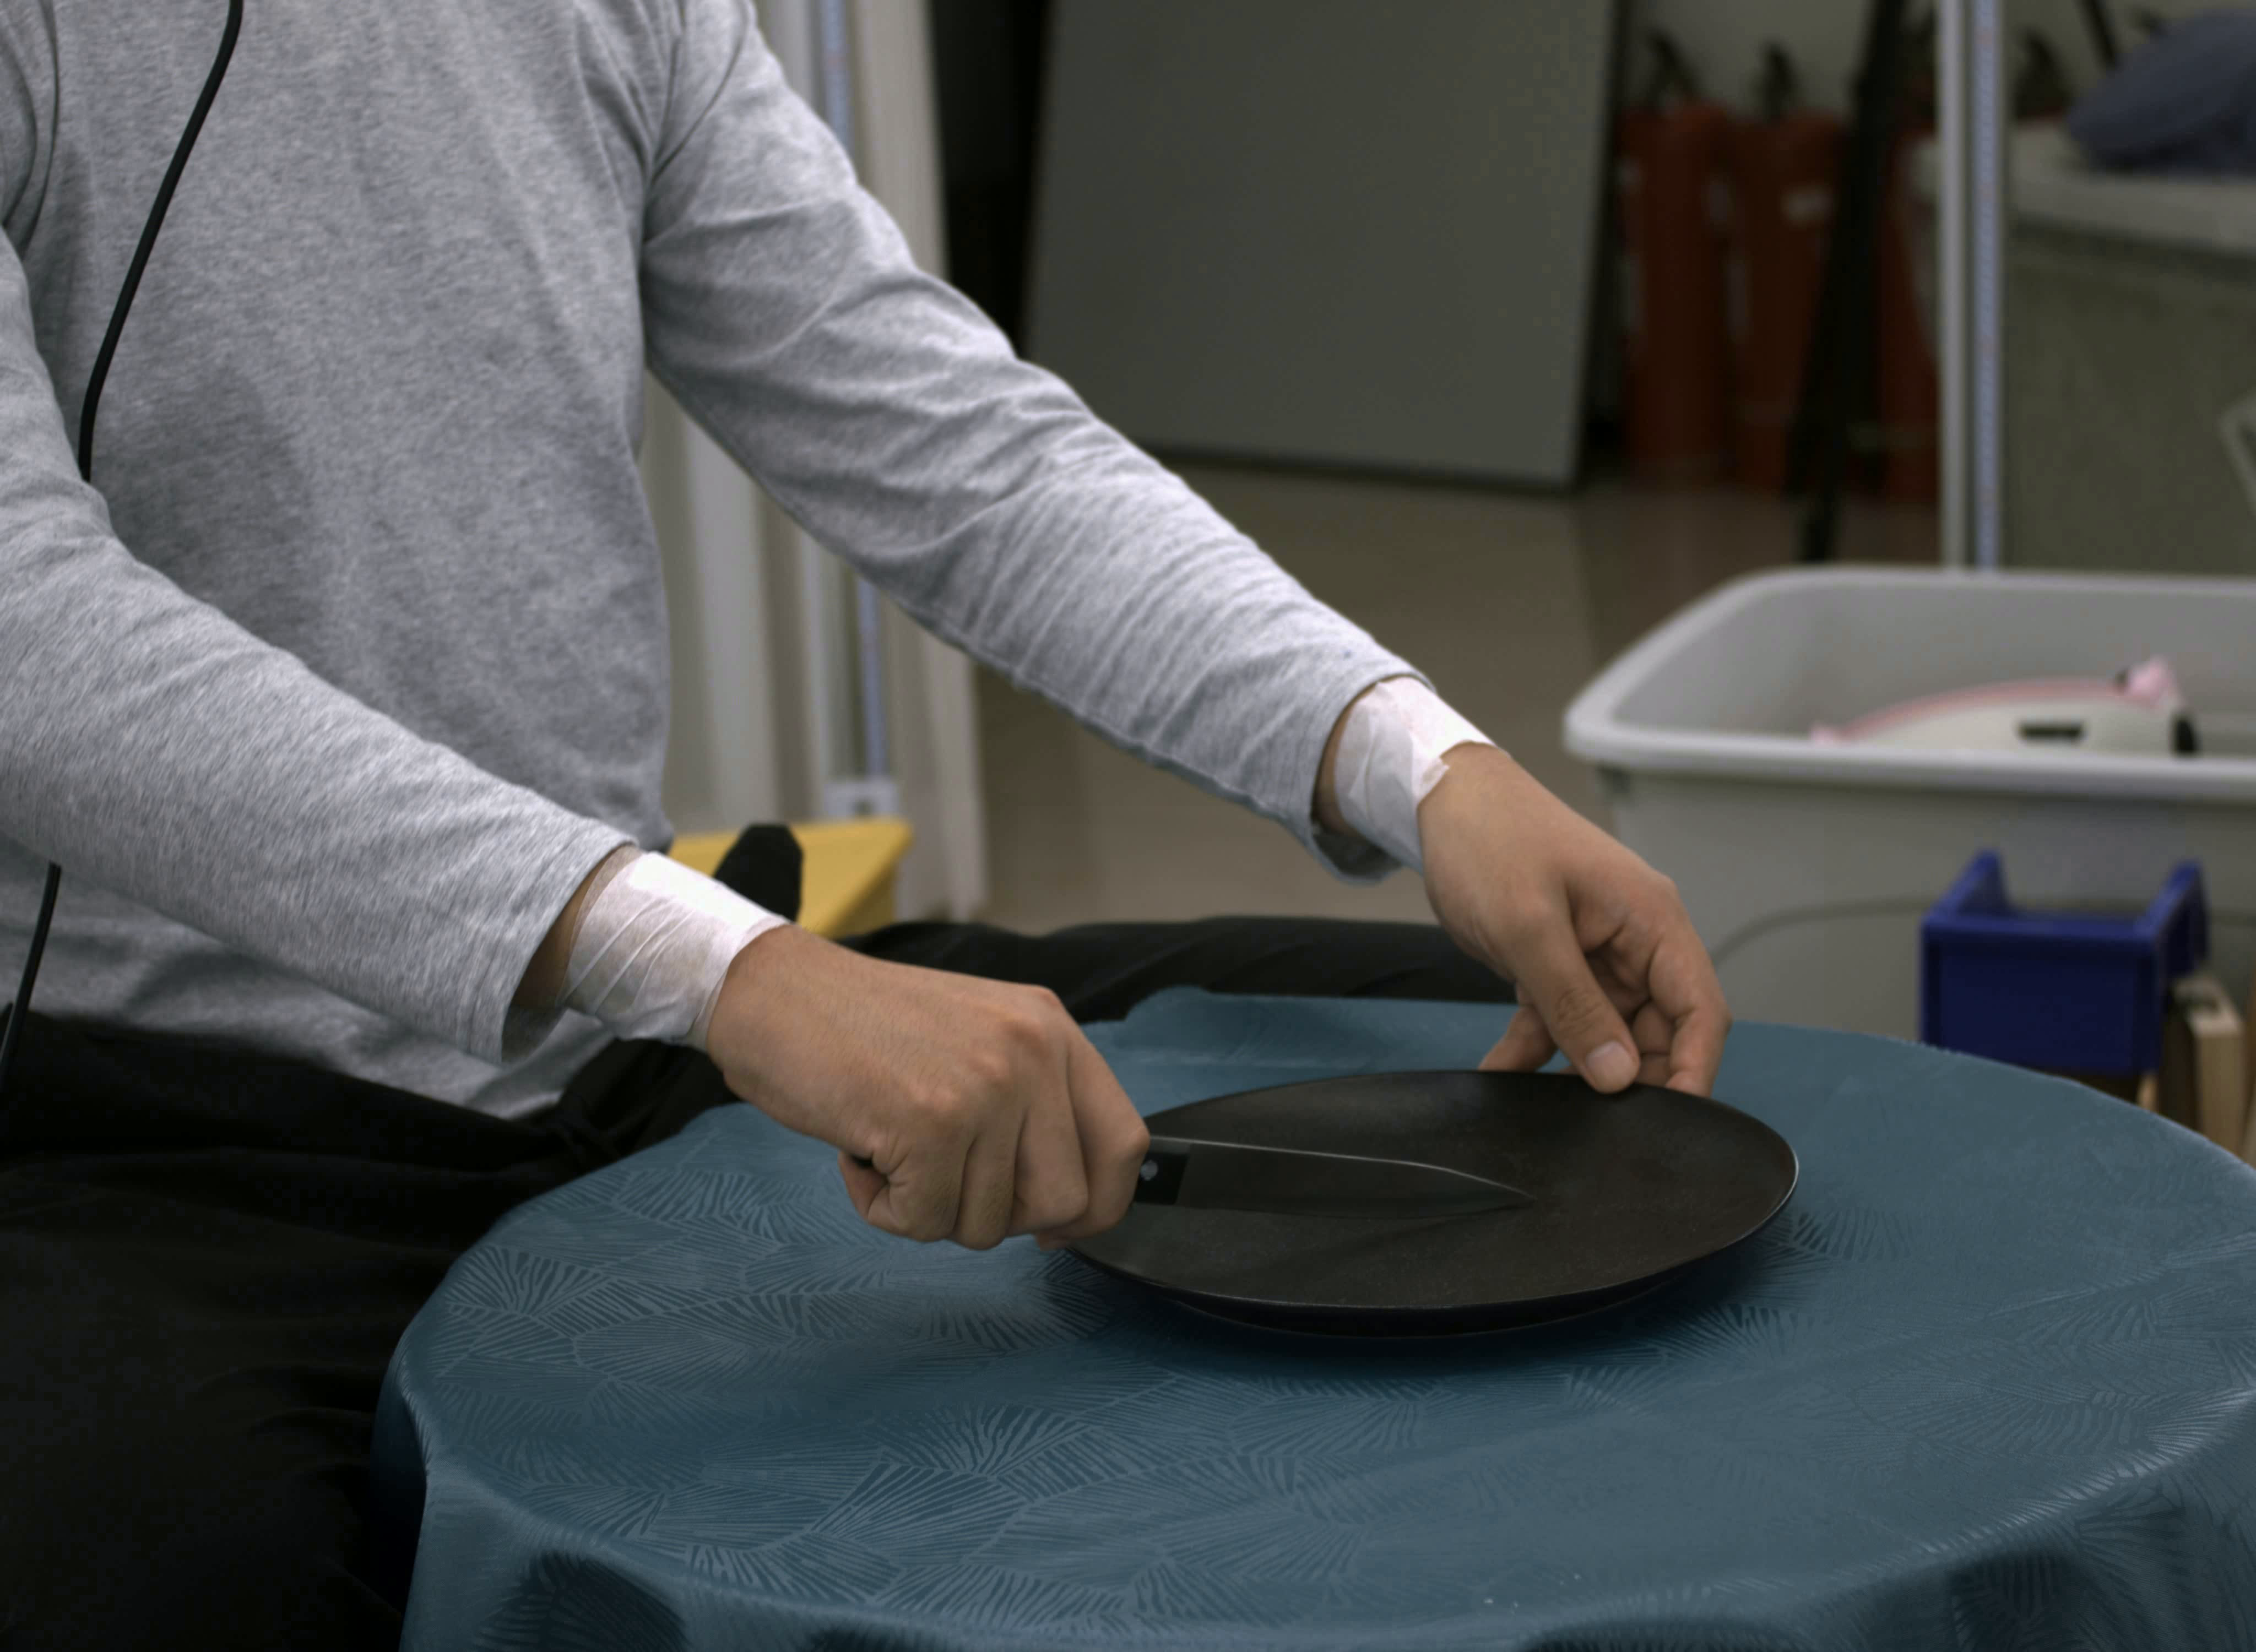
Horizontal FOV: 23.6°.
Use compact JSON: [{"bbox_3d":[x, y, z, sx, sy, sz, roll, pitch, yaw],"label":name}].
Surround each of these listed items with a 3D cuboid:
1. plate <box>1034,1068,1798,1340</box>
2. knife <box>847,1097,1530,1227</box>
[{"bbox_3d":[0.091,0.121,1.698,0.241,0.024,0.245,-4,14,0],"label":"plate"},{"bbox_3d":[0.024,0.104,1.660,0.233,0.025,0.016,9,13,-23],"label":"knife"}]
